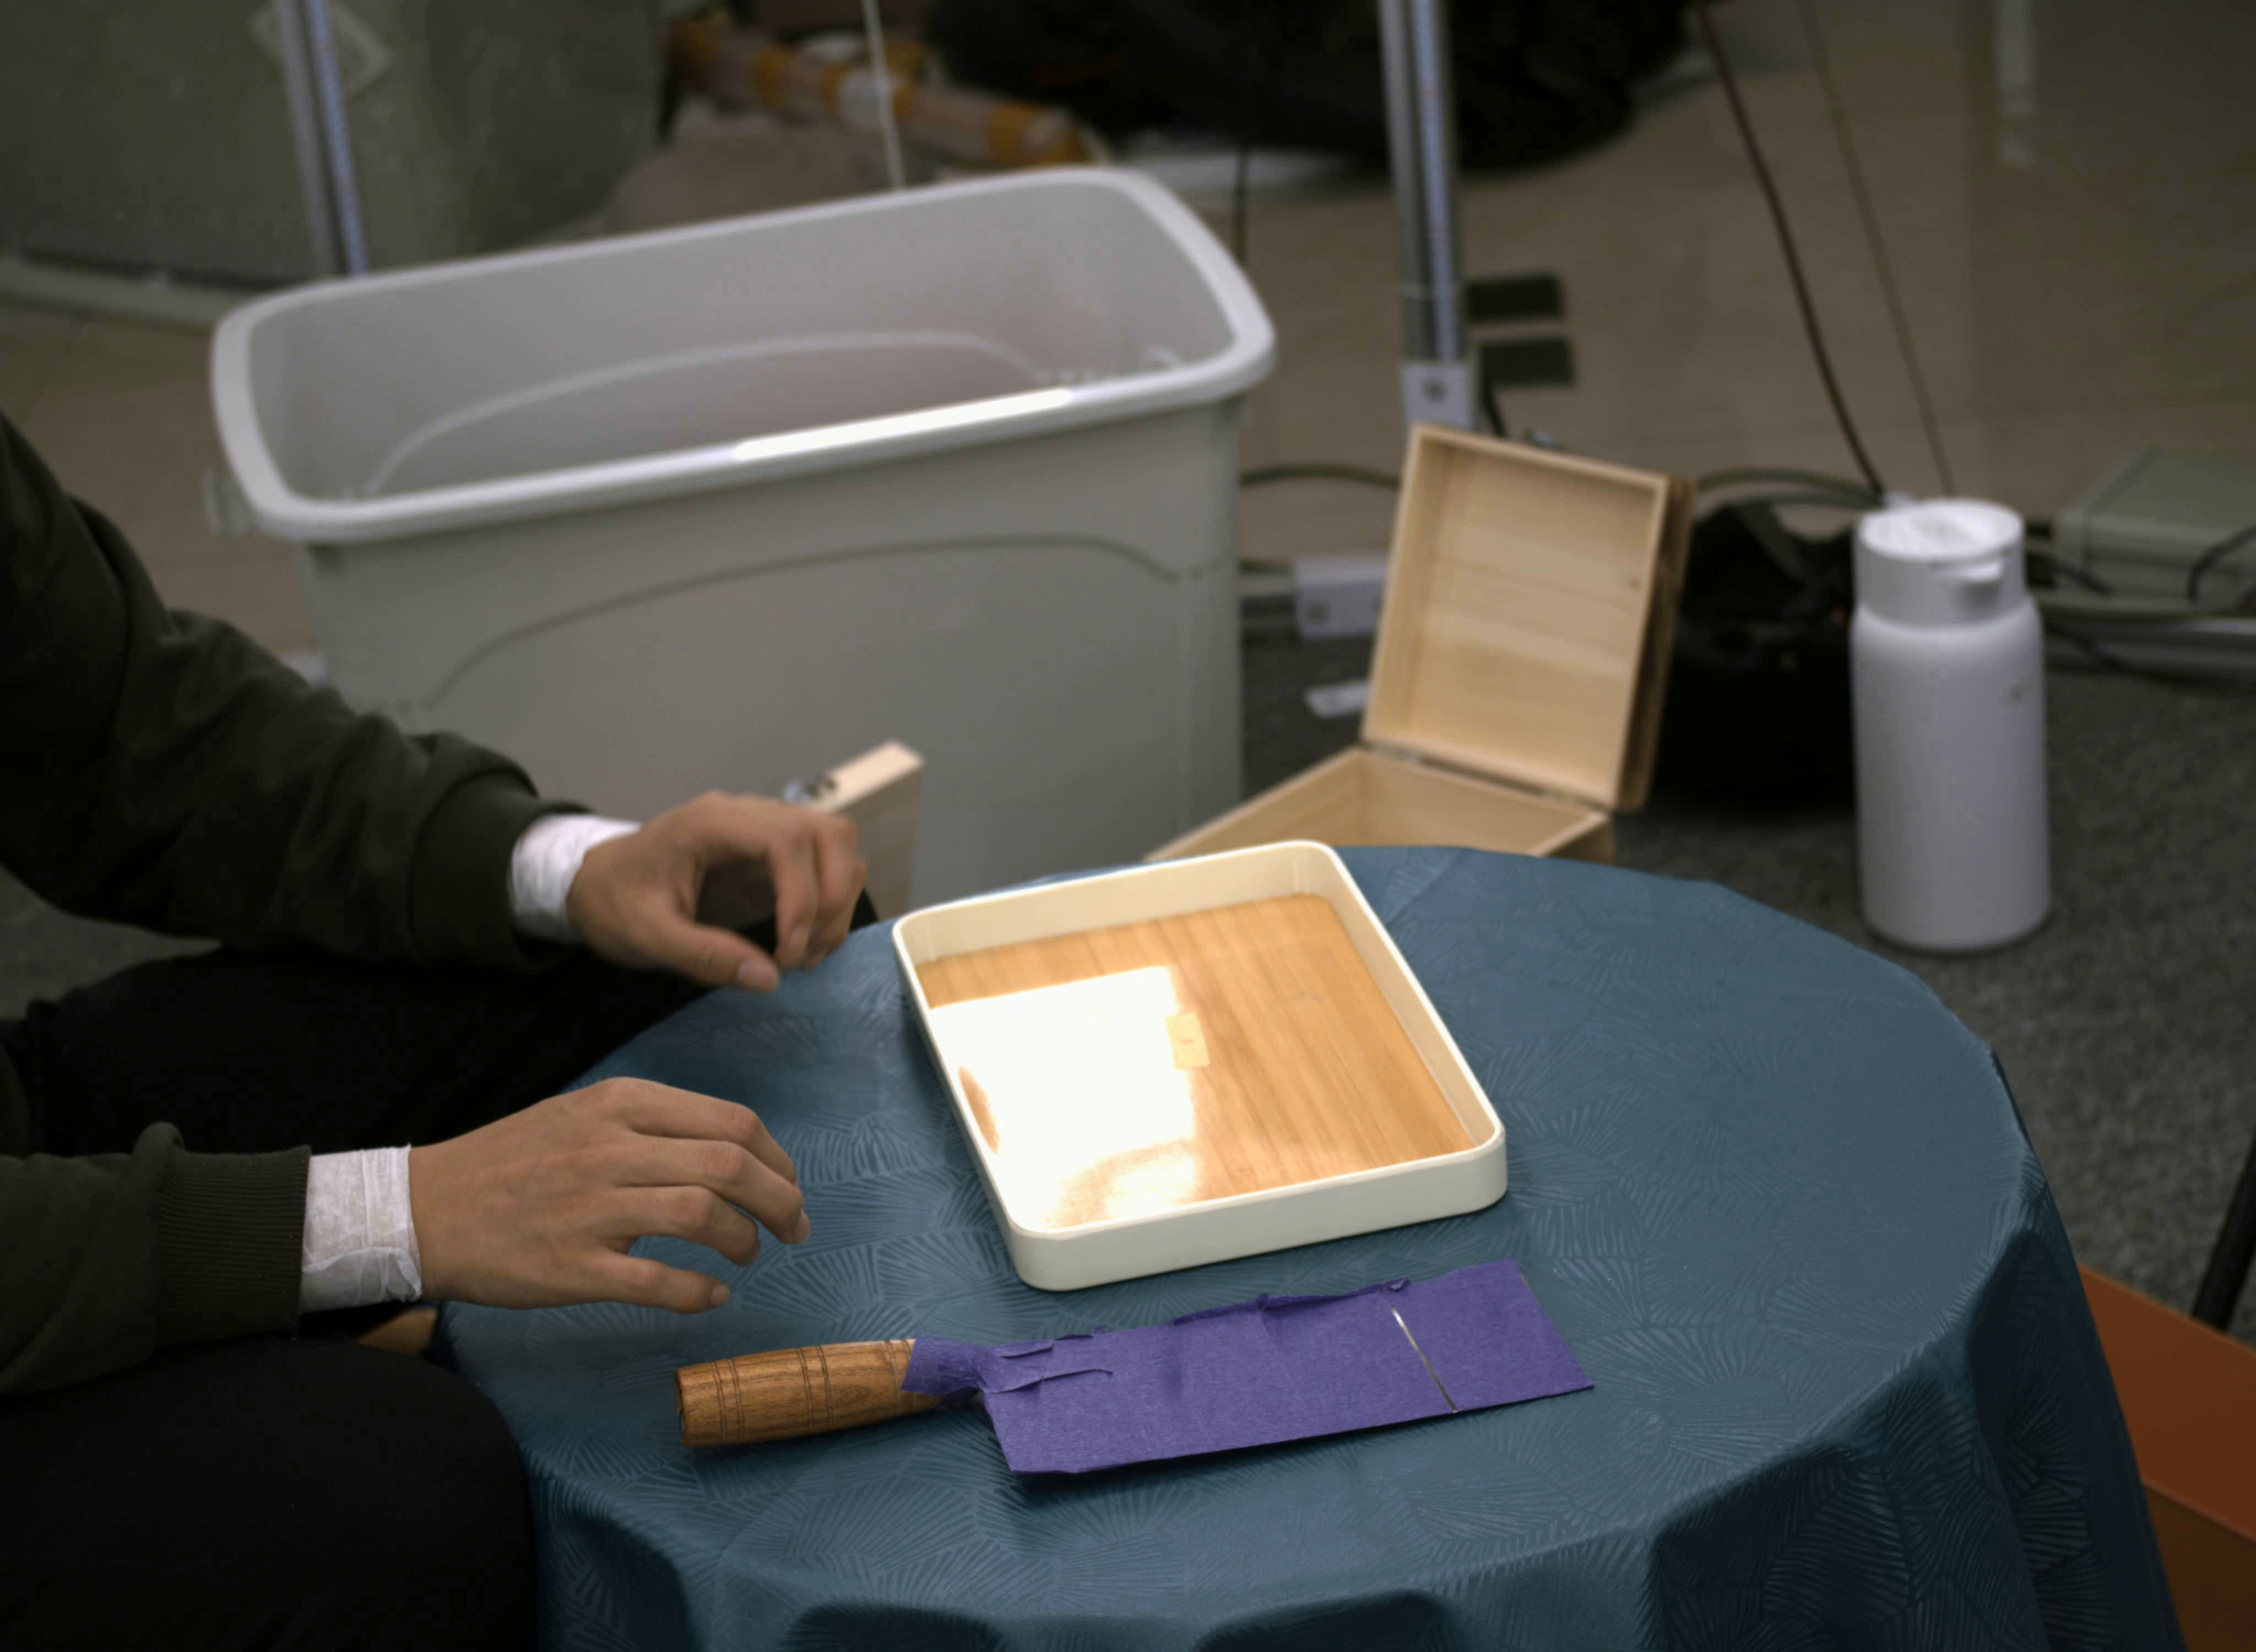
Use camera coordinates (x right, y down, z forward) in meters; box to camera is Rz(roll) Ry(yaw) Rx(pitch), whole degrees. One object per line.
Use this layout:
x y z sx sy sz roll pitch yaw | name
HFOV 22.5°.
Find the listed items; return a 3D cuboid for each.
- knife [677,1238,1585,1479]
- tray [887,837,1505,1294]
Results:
0.001 0.194 1.999 0.314 0.033 0.102 -10 25 -10 | knife
0.021 0.089 2.222 0.191 0.028 0.296 -11 25 -8 | tray
